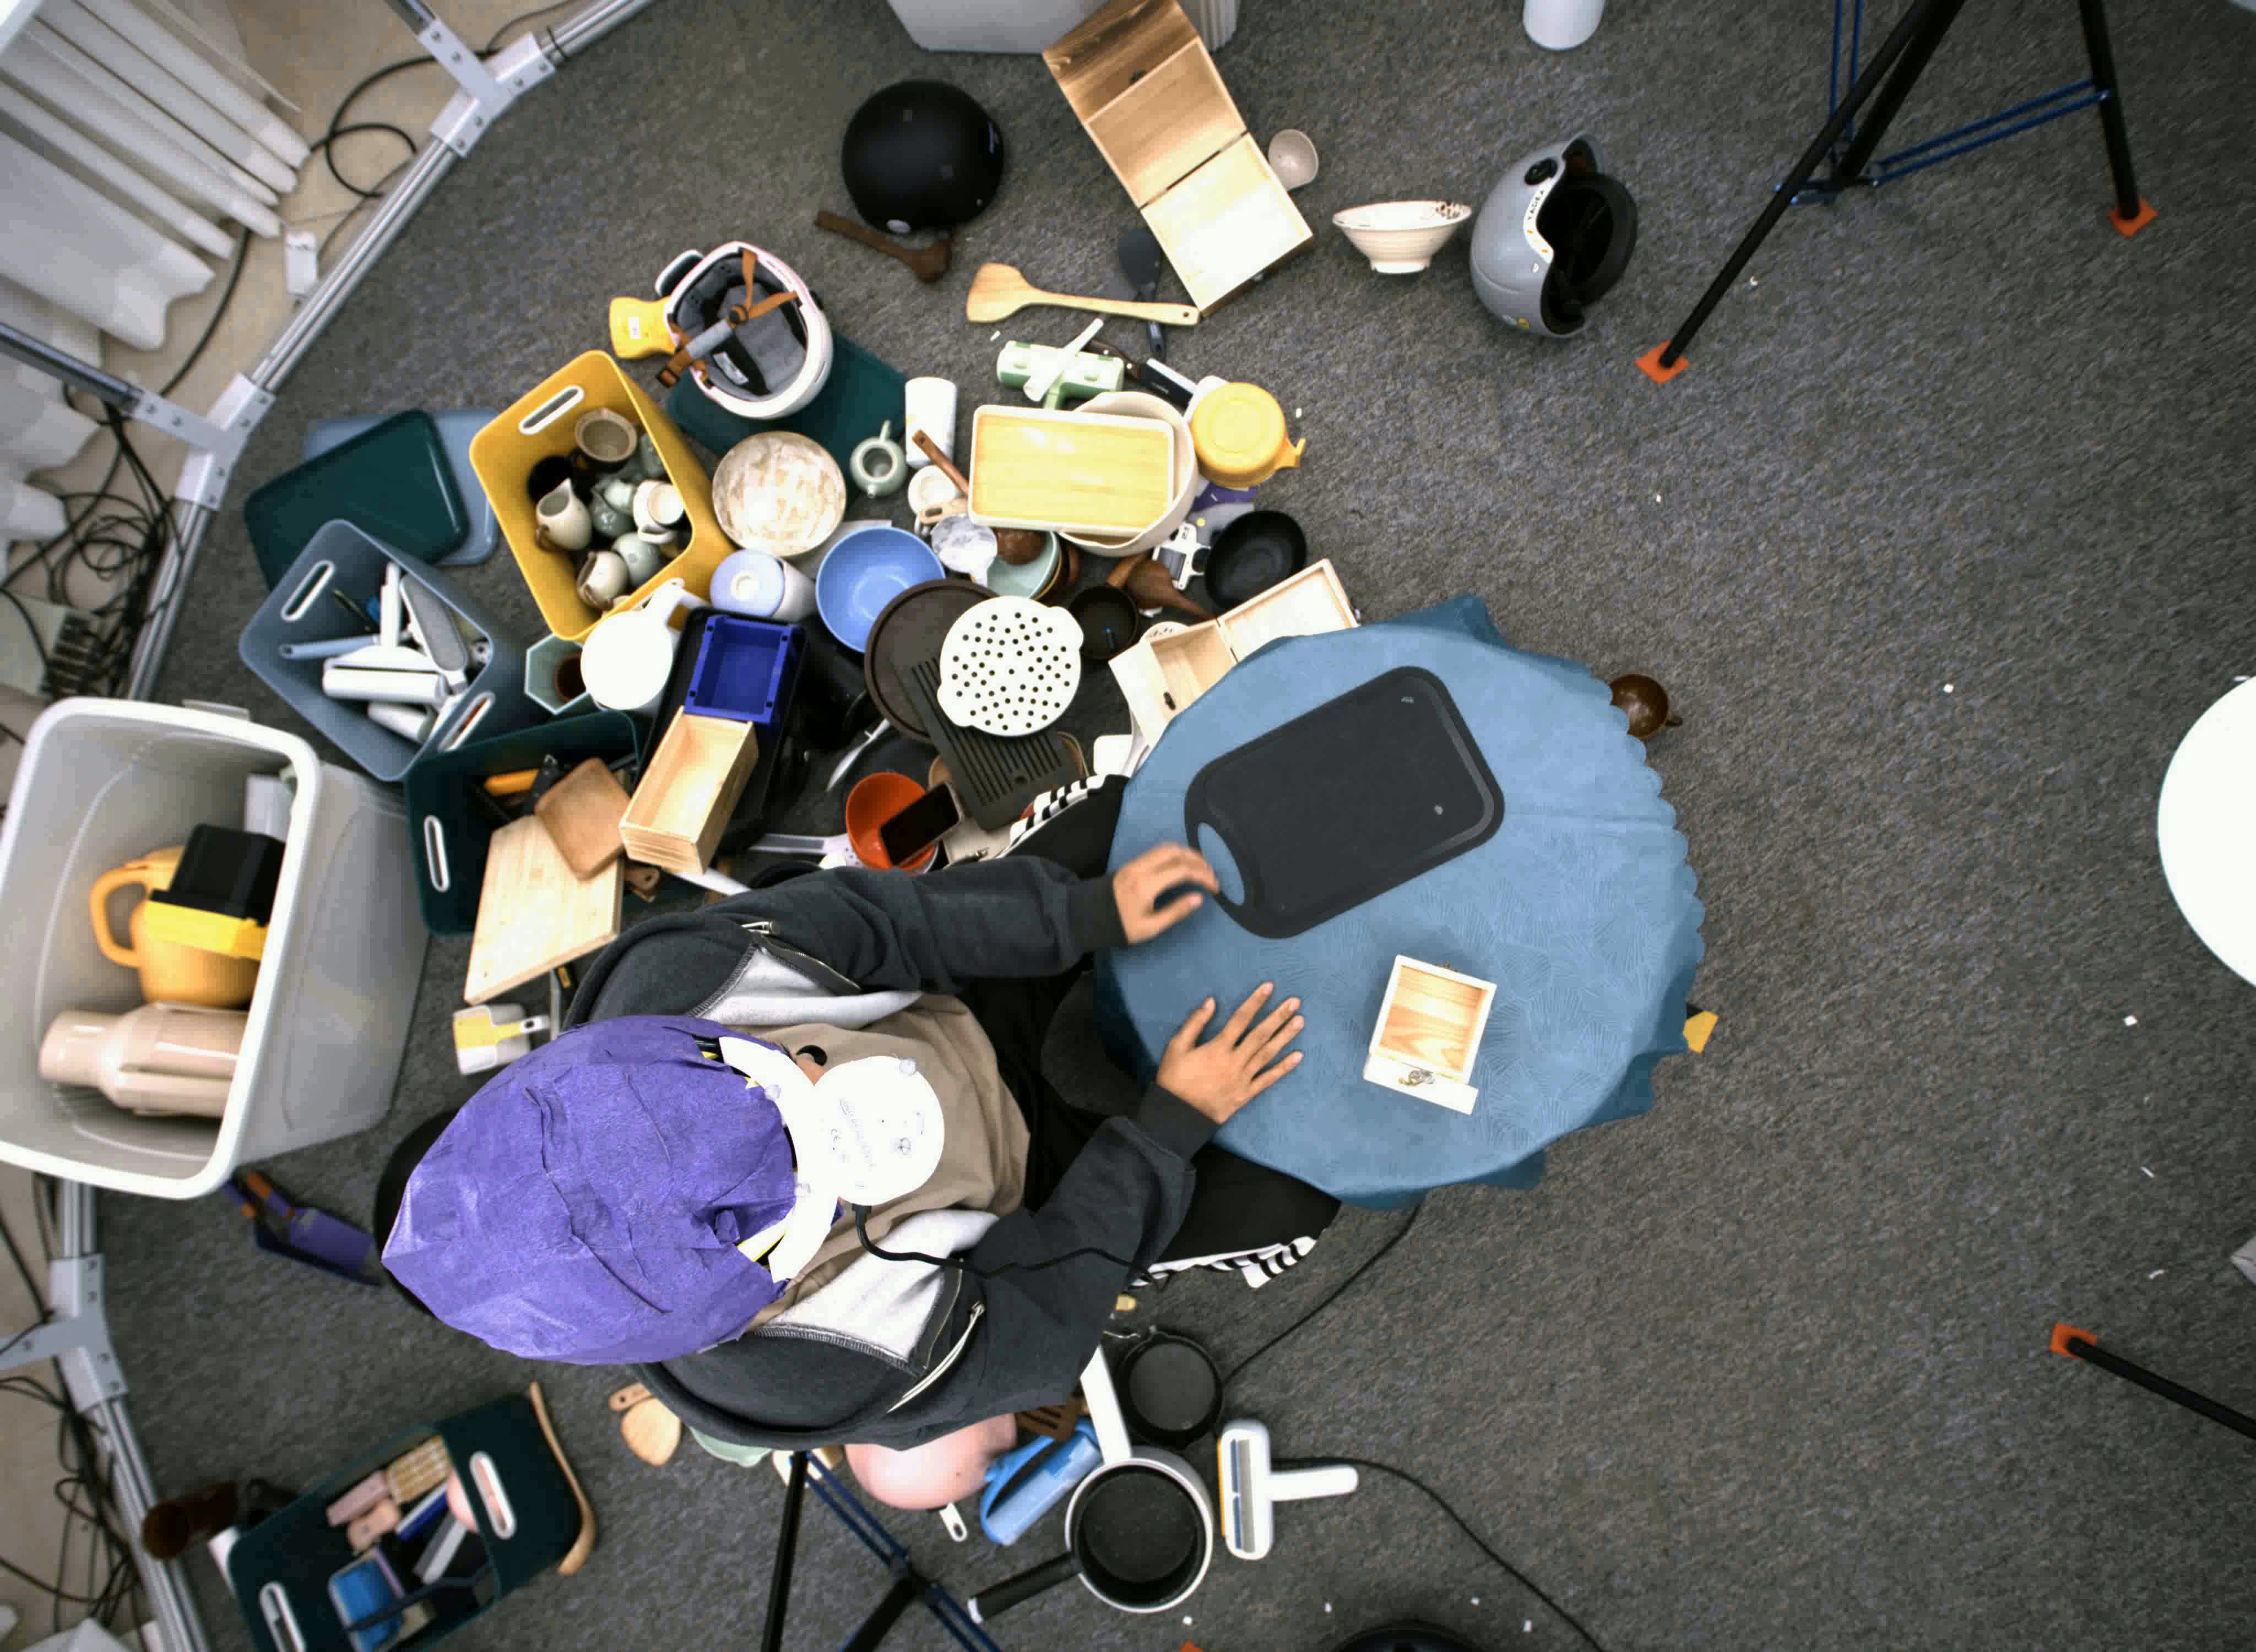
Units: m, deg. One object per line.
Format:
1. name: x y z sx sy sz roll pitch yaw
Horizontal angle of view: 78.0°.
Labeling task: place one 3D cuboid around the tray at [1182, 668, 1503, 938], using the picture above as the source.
1. tray: 0.220 -0.022 1.470 0.327 0.010 0.210 -26 82 8

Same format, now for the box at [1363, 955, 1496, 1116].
1. box: 0.297 0.197 1.354 0.102 0.184 0.134 16 89 10
